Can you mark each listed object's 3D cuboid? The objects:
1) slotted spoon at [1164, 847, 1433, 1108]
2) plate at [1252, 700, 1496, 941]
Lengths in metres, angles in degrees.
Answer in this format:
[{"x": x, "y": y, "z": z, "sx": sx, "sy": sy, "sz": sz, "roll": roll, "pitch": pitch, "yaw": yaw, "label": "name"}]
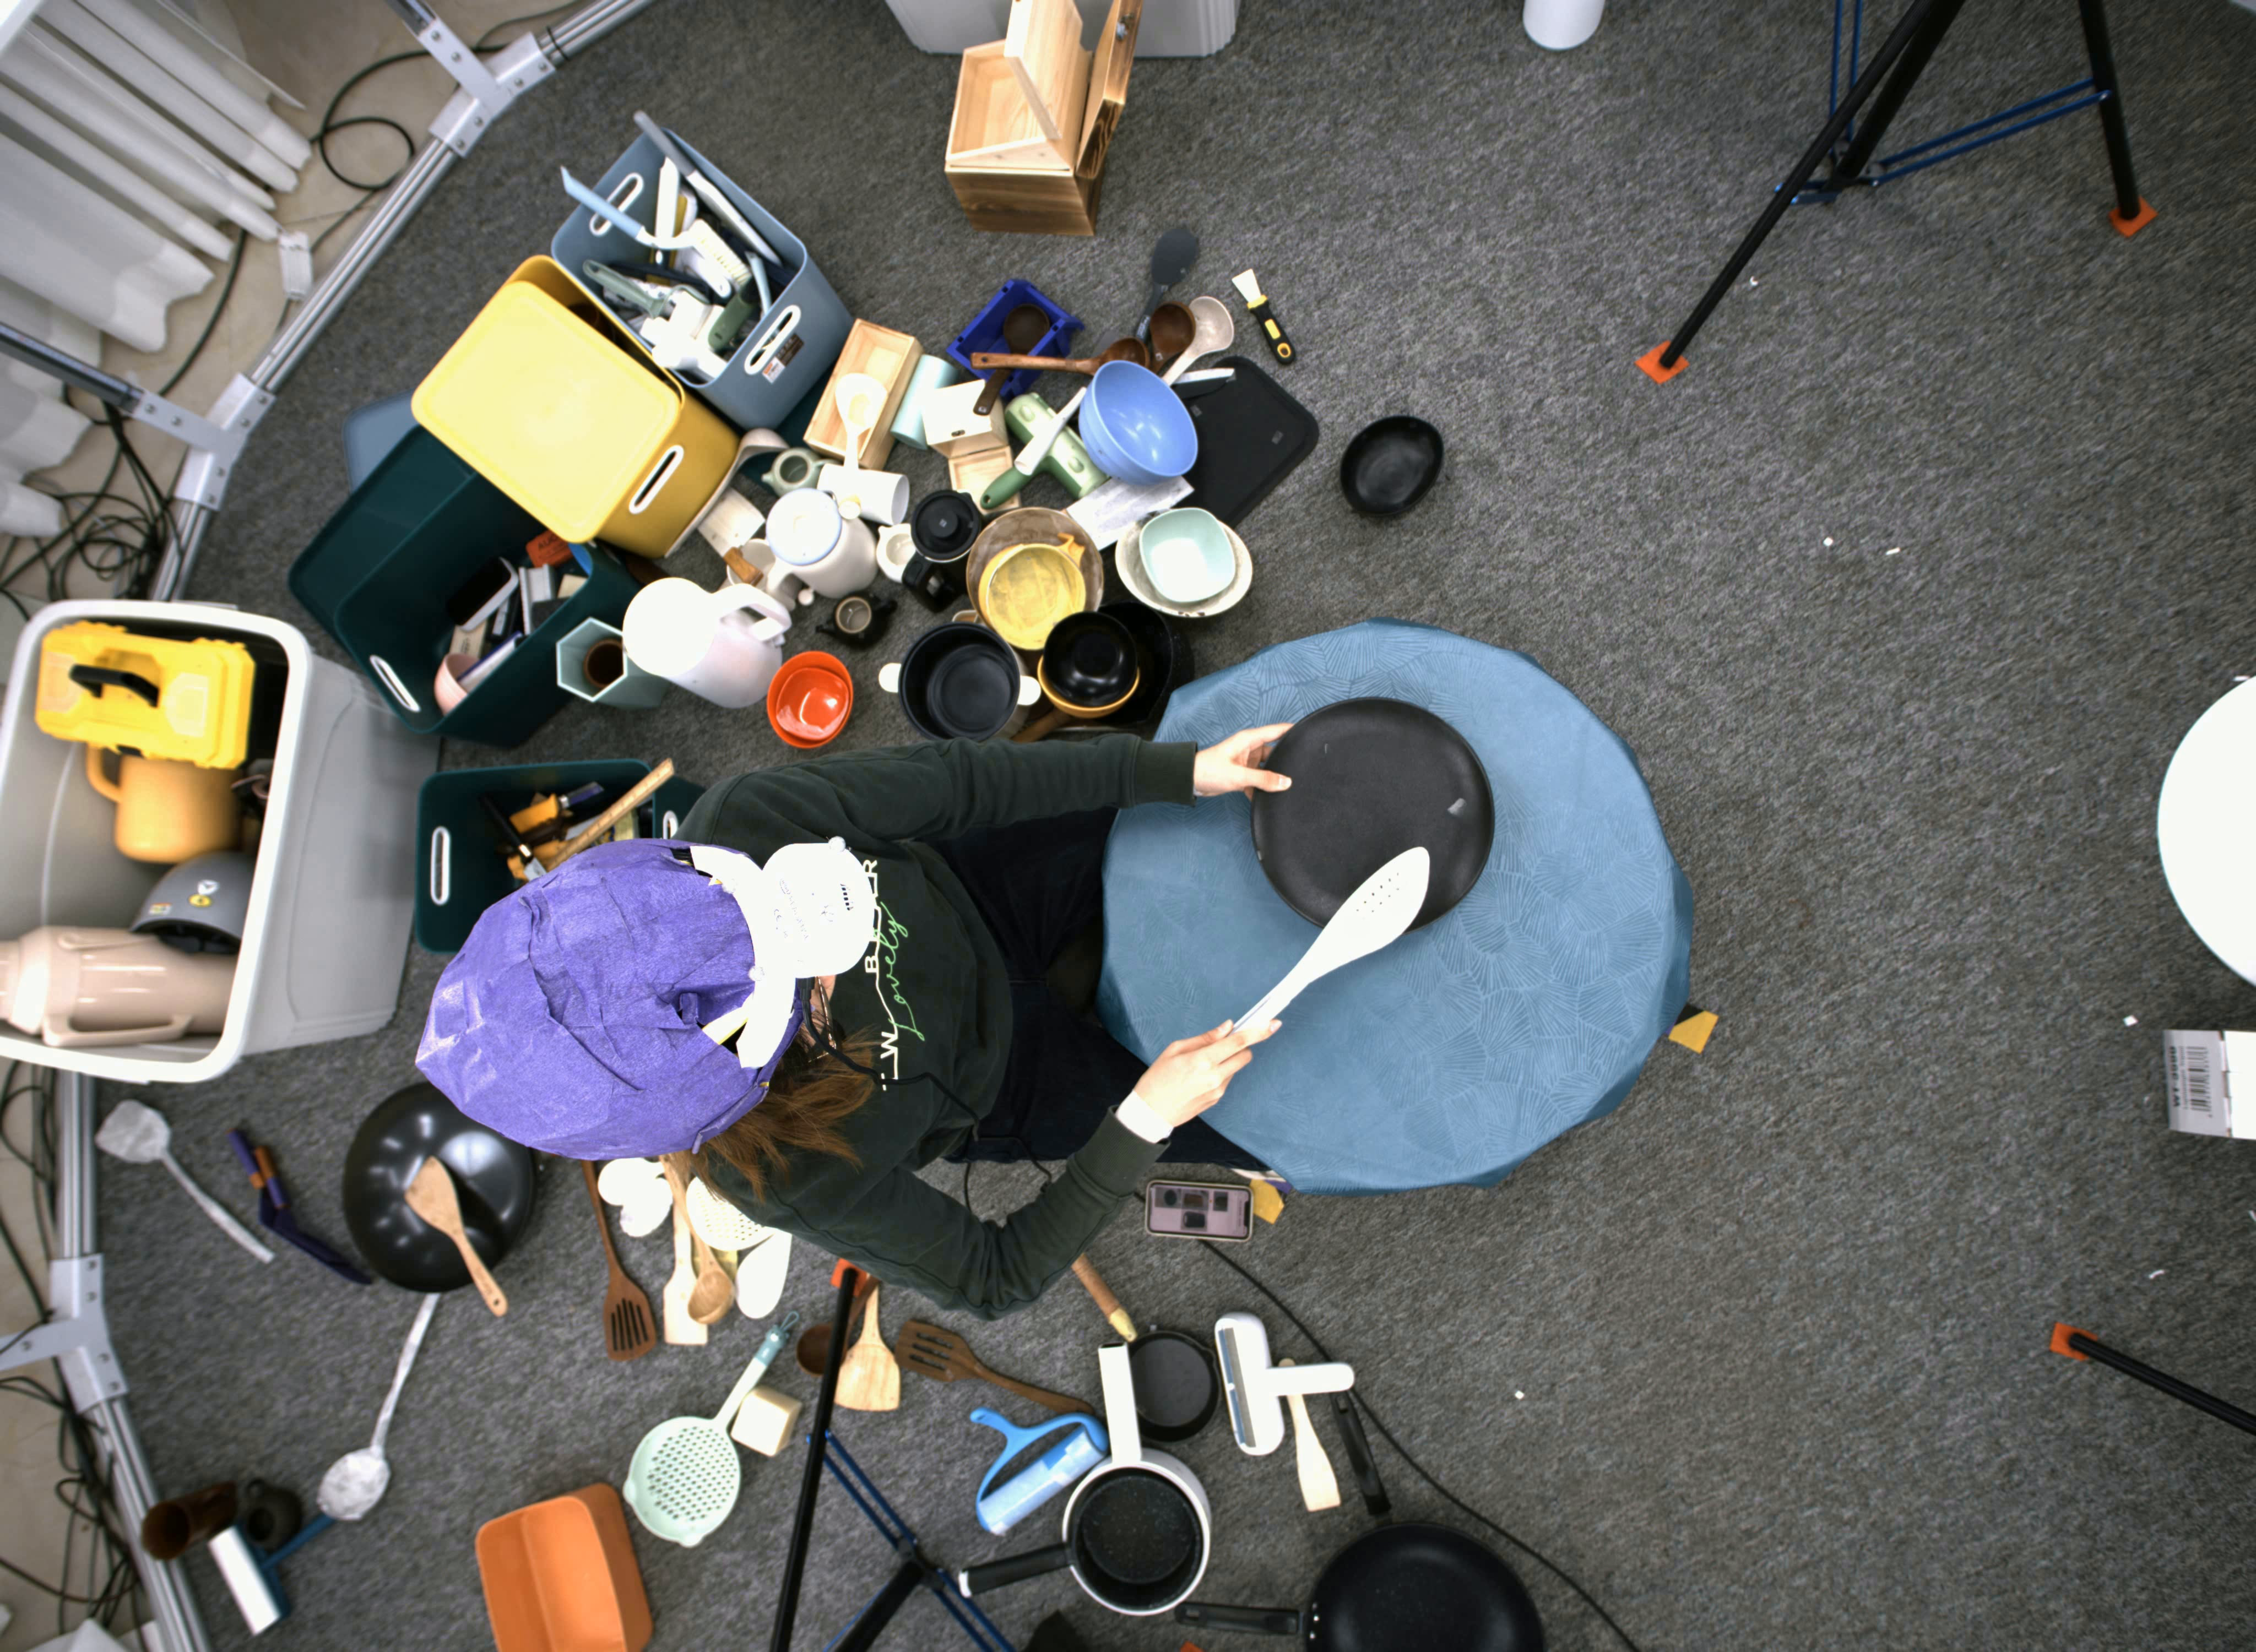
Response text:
[{"x": 0.161, "y": 0.147, "z": 1.310, "sx": 0.353, "sy": 0.134, "sz": 0.046, "roll": -40, "pitch": 94, "yaw": 12, "label": "slotted spoon"}, {"x": 0.247, "y": -0.006, "z": 1.395, "sx": 0.245, "sy": 0.023, "sz": 0.244, "roll": 0, "pitch": 92, "yaw": 8, "label": "plate"}]
